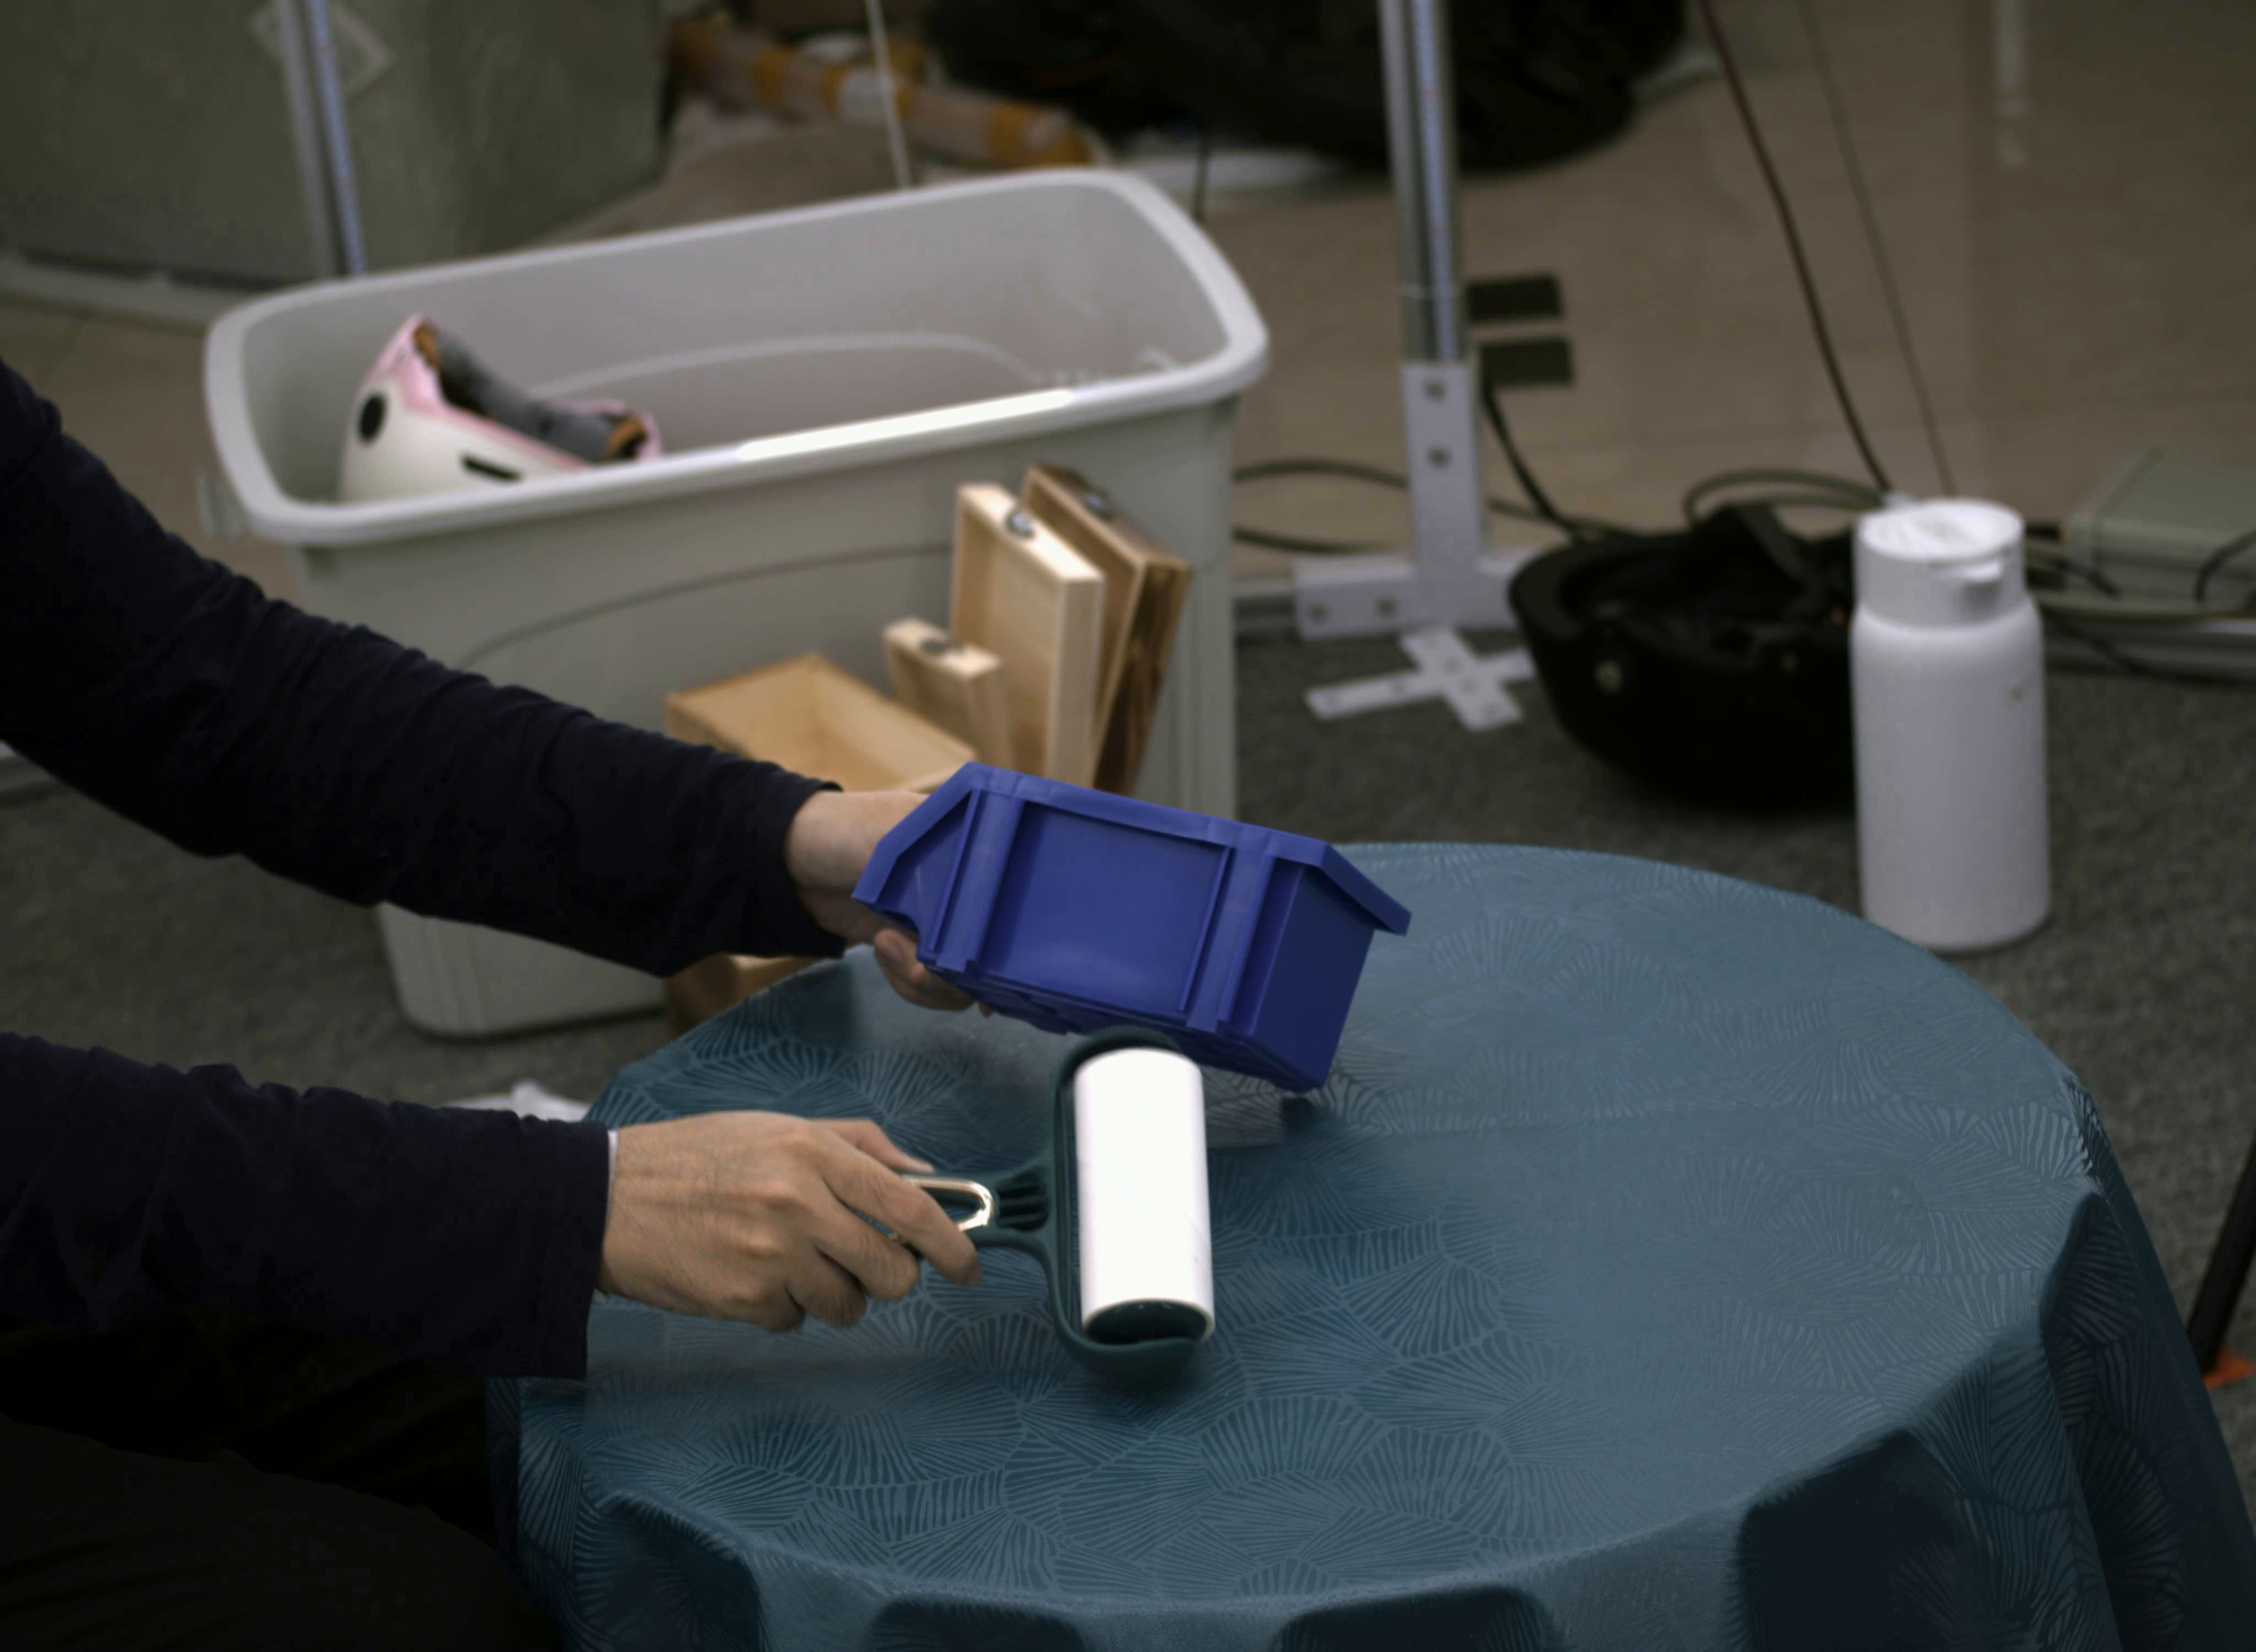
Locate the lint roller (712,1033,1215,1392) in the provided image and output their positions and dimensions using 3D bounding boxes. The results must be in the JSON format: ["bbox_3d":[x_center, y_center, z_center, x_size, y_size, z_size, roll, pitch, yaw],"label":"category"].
[{"bbox_3d":[-0.061,0.141,2.034,0.180,0.049,0.132,-1,58,-1],"label":"lint roller"}]

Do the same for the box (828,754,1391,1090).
[{"bbox_3d":[-0.009,0.036,2.181,0.178,0.082,0.125,16,-6,23],"label":"box"}]
